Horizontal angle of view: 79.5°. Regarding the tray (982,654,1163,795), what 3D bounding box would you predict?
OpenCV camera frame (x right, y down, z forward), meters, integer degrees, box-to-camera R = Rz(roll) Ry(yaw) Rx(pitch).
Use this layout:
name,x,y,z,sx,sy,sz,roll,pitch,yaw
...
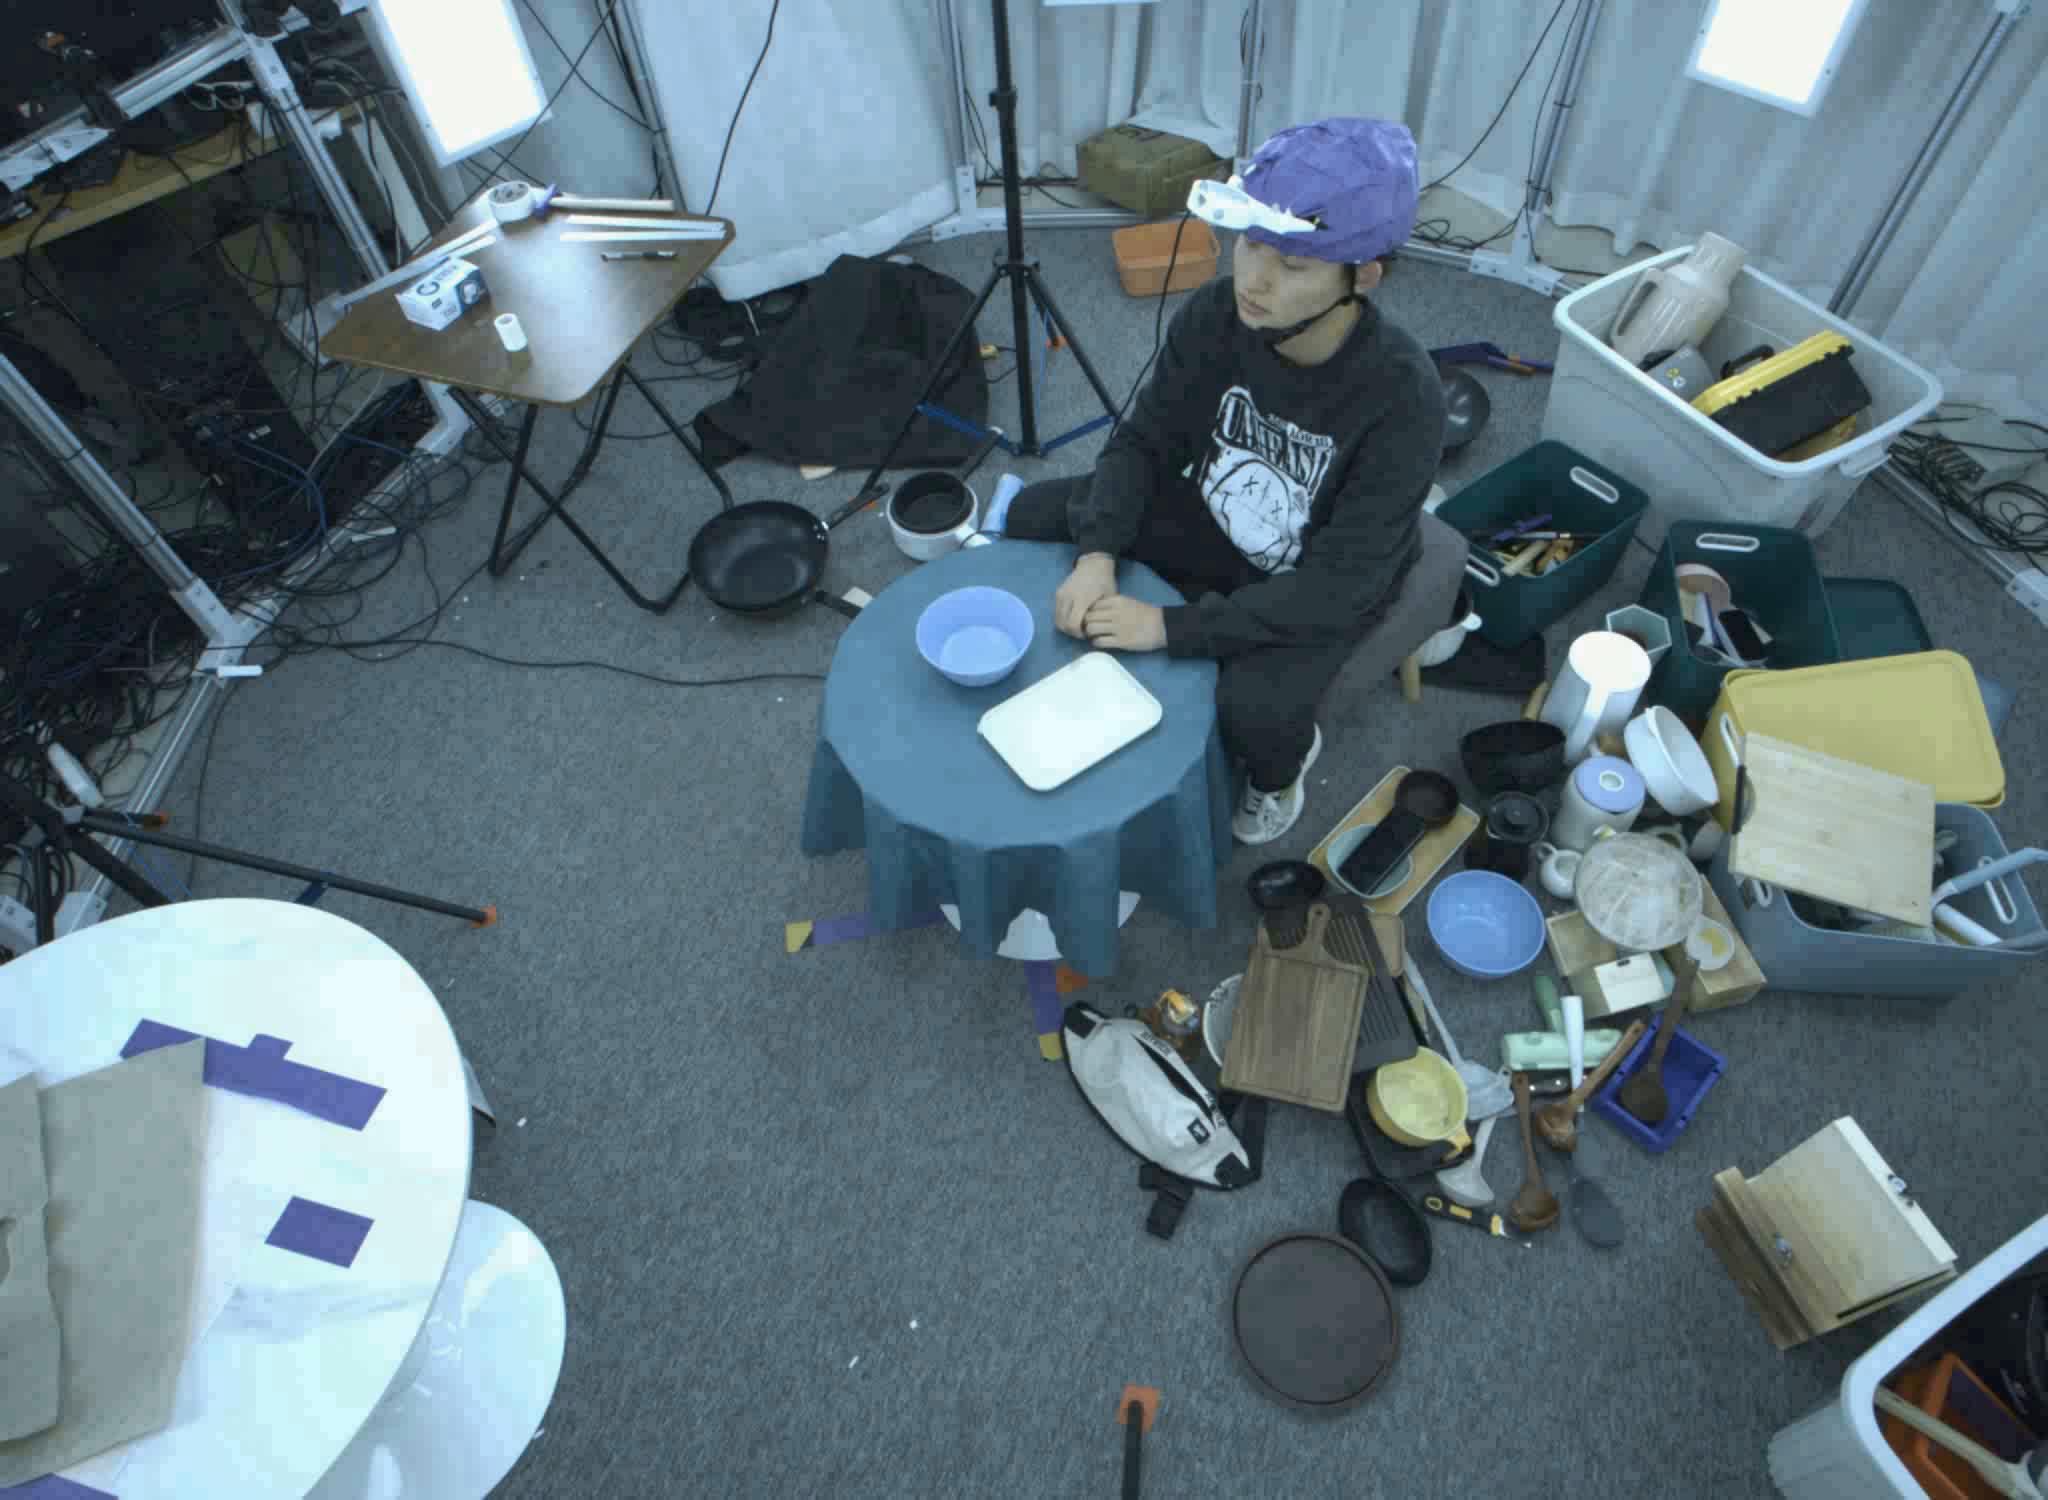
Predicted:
name,x,y,z,sx,sy,sz,roll,pitch,yaw
tray,0.071,-0.039,1.812,0.241,0.017,0.168,-31,60,-19

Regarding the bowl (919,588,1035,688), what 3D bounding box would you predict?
name,x,y,z,sx,sy,sz,roll,pitch,yaw
bowl,-0.070,-0.160,1.869,0.176,0.071,0.174,-1,56,2
